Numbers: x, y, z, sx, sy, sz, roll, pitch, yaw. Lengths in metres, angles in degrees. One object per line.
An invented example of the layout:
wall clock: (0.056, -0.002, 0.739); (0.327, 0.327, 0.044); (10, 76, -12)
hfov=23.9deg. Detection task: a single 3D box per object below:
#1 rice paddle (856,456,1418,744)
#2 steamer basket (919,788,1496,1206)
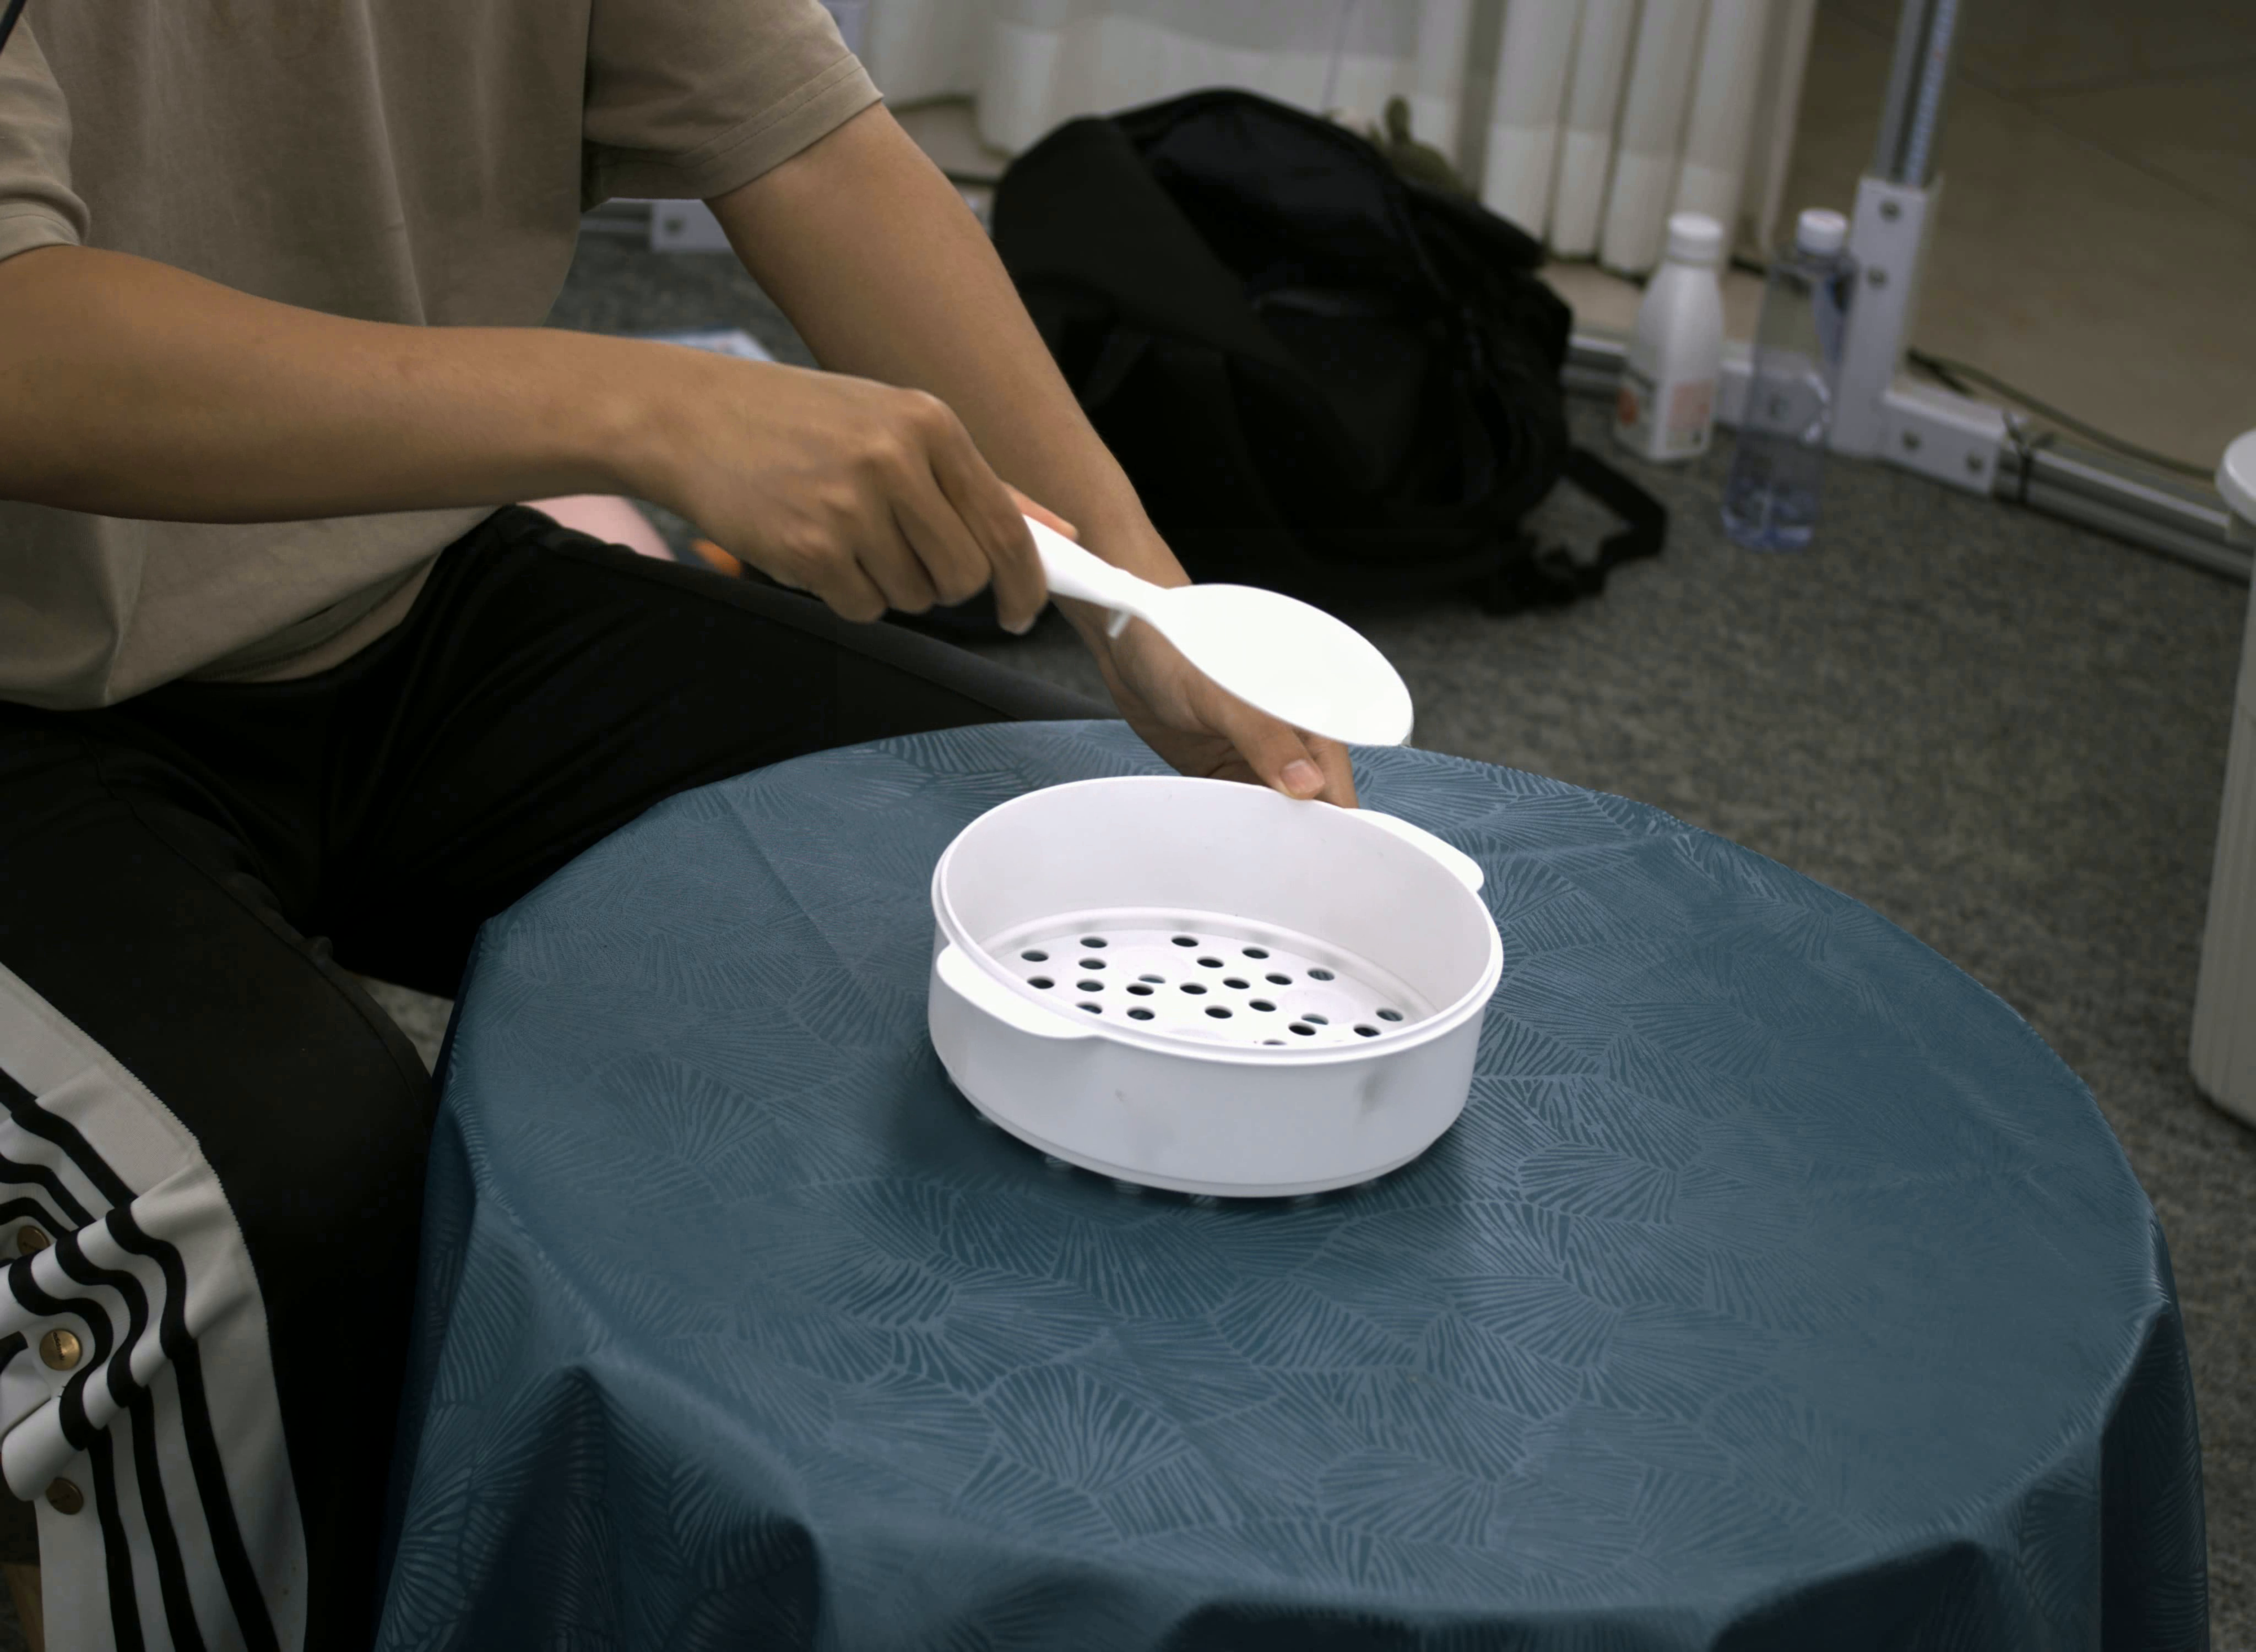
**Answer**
rice paddle: (0.008, -0.075, 1.779); (0.204, 0.029, 0.069); (20, 38, -16)
steamer basket: (0.025, 0.061, 1.864); (0.229, 0.069, 0.203); (-16, 35, -42)
